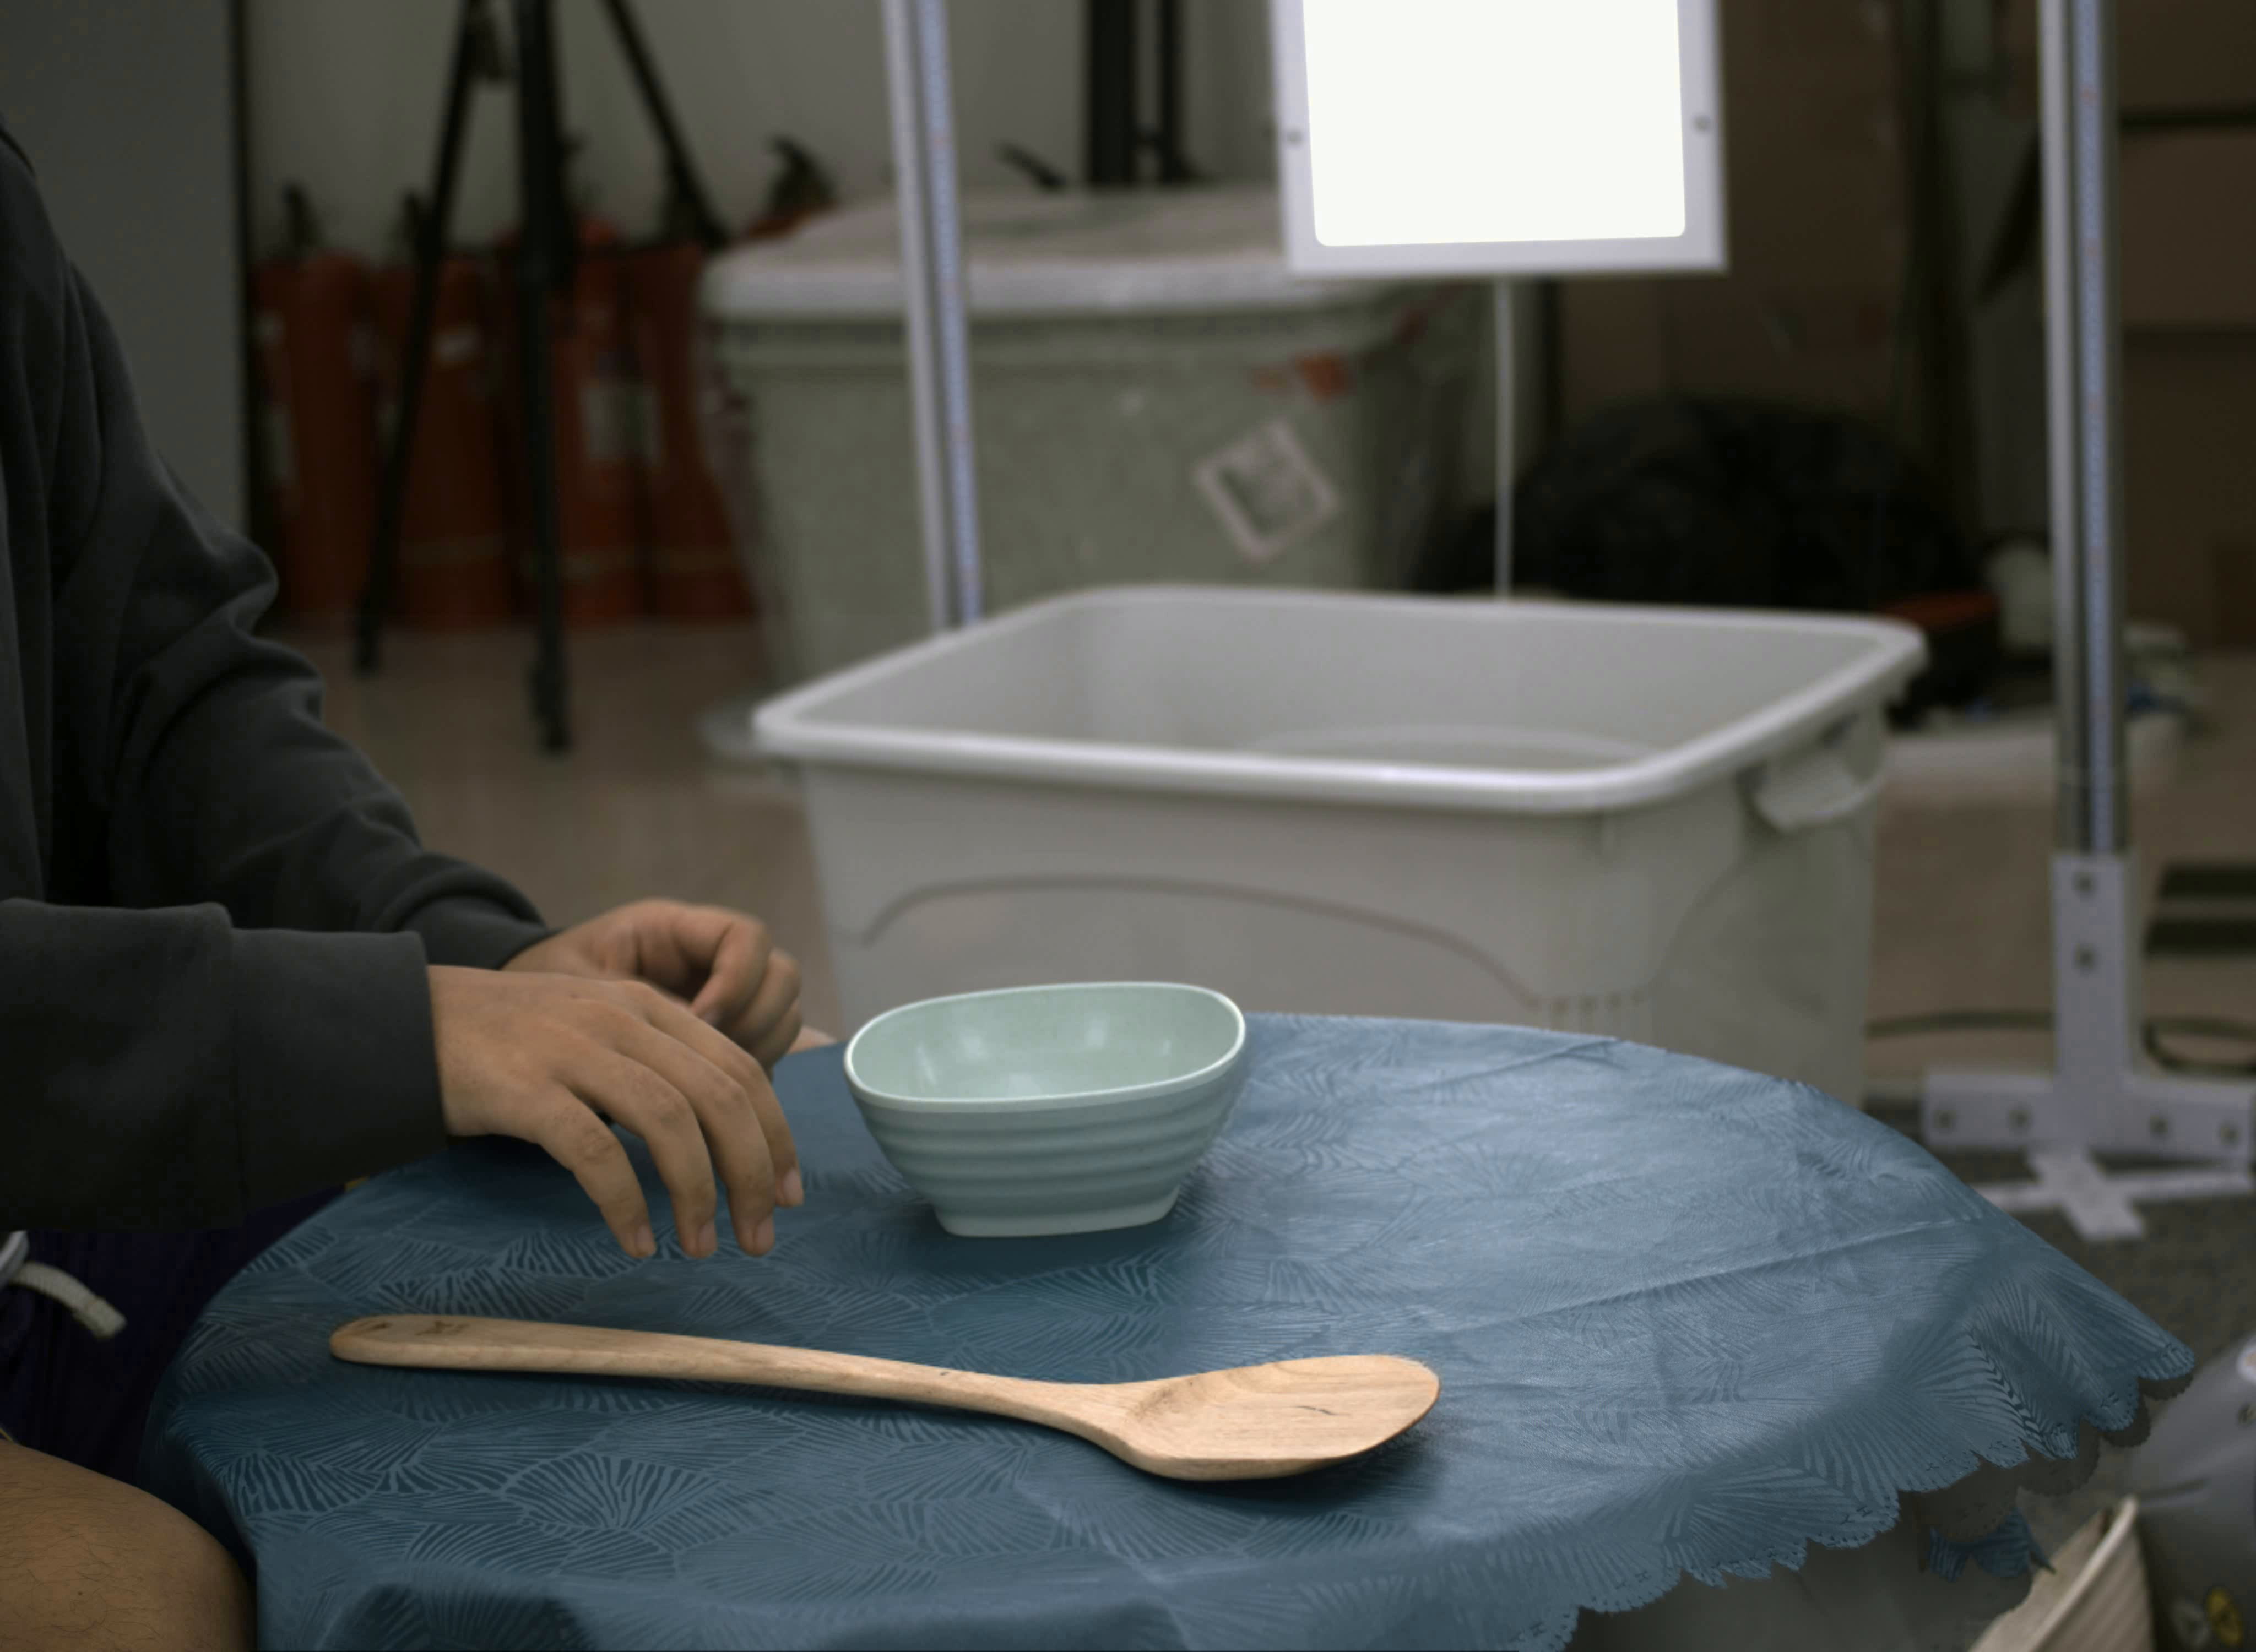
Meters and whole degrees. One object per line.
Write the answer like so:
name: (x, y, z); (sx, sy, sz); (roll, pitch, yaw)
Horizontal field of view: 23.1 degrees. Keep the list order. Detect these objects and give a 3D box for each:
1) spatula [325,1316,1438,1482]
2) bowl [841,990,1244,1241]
spatula: (-0.089, 0.172, 1.707); (0.398, 0.018, 0.093); (3, 14, 29)
bowl: (-0.028, 0.102, 1.892); (0.151, 0.059, 0.151); (-3, 14, -1)
